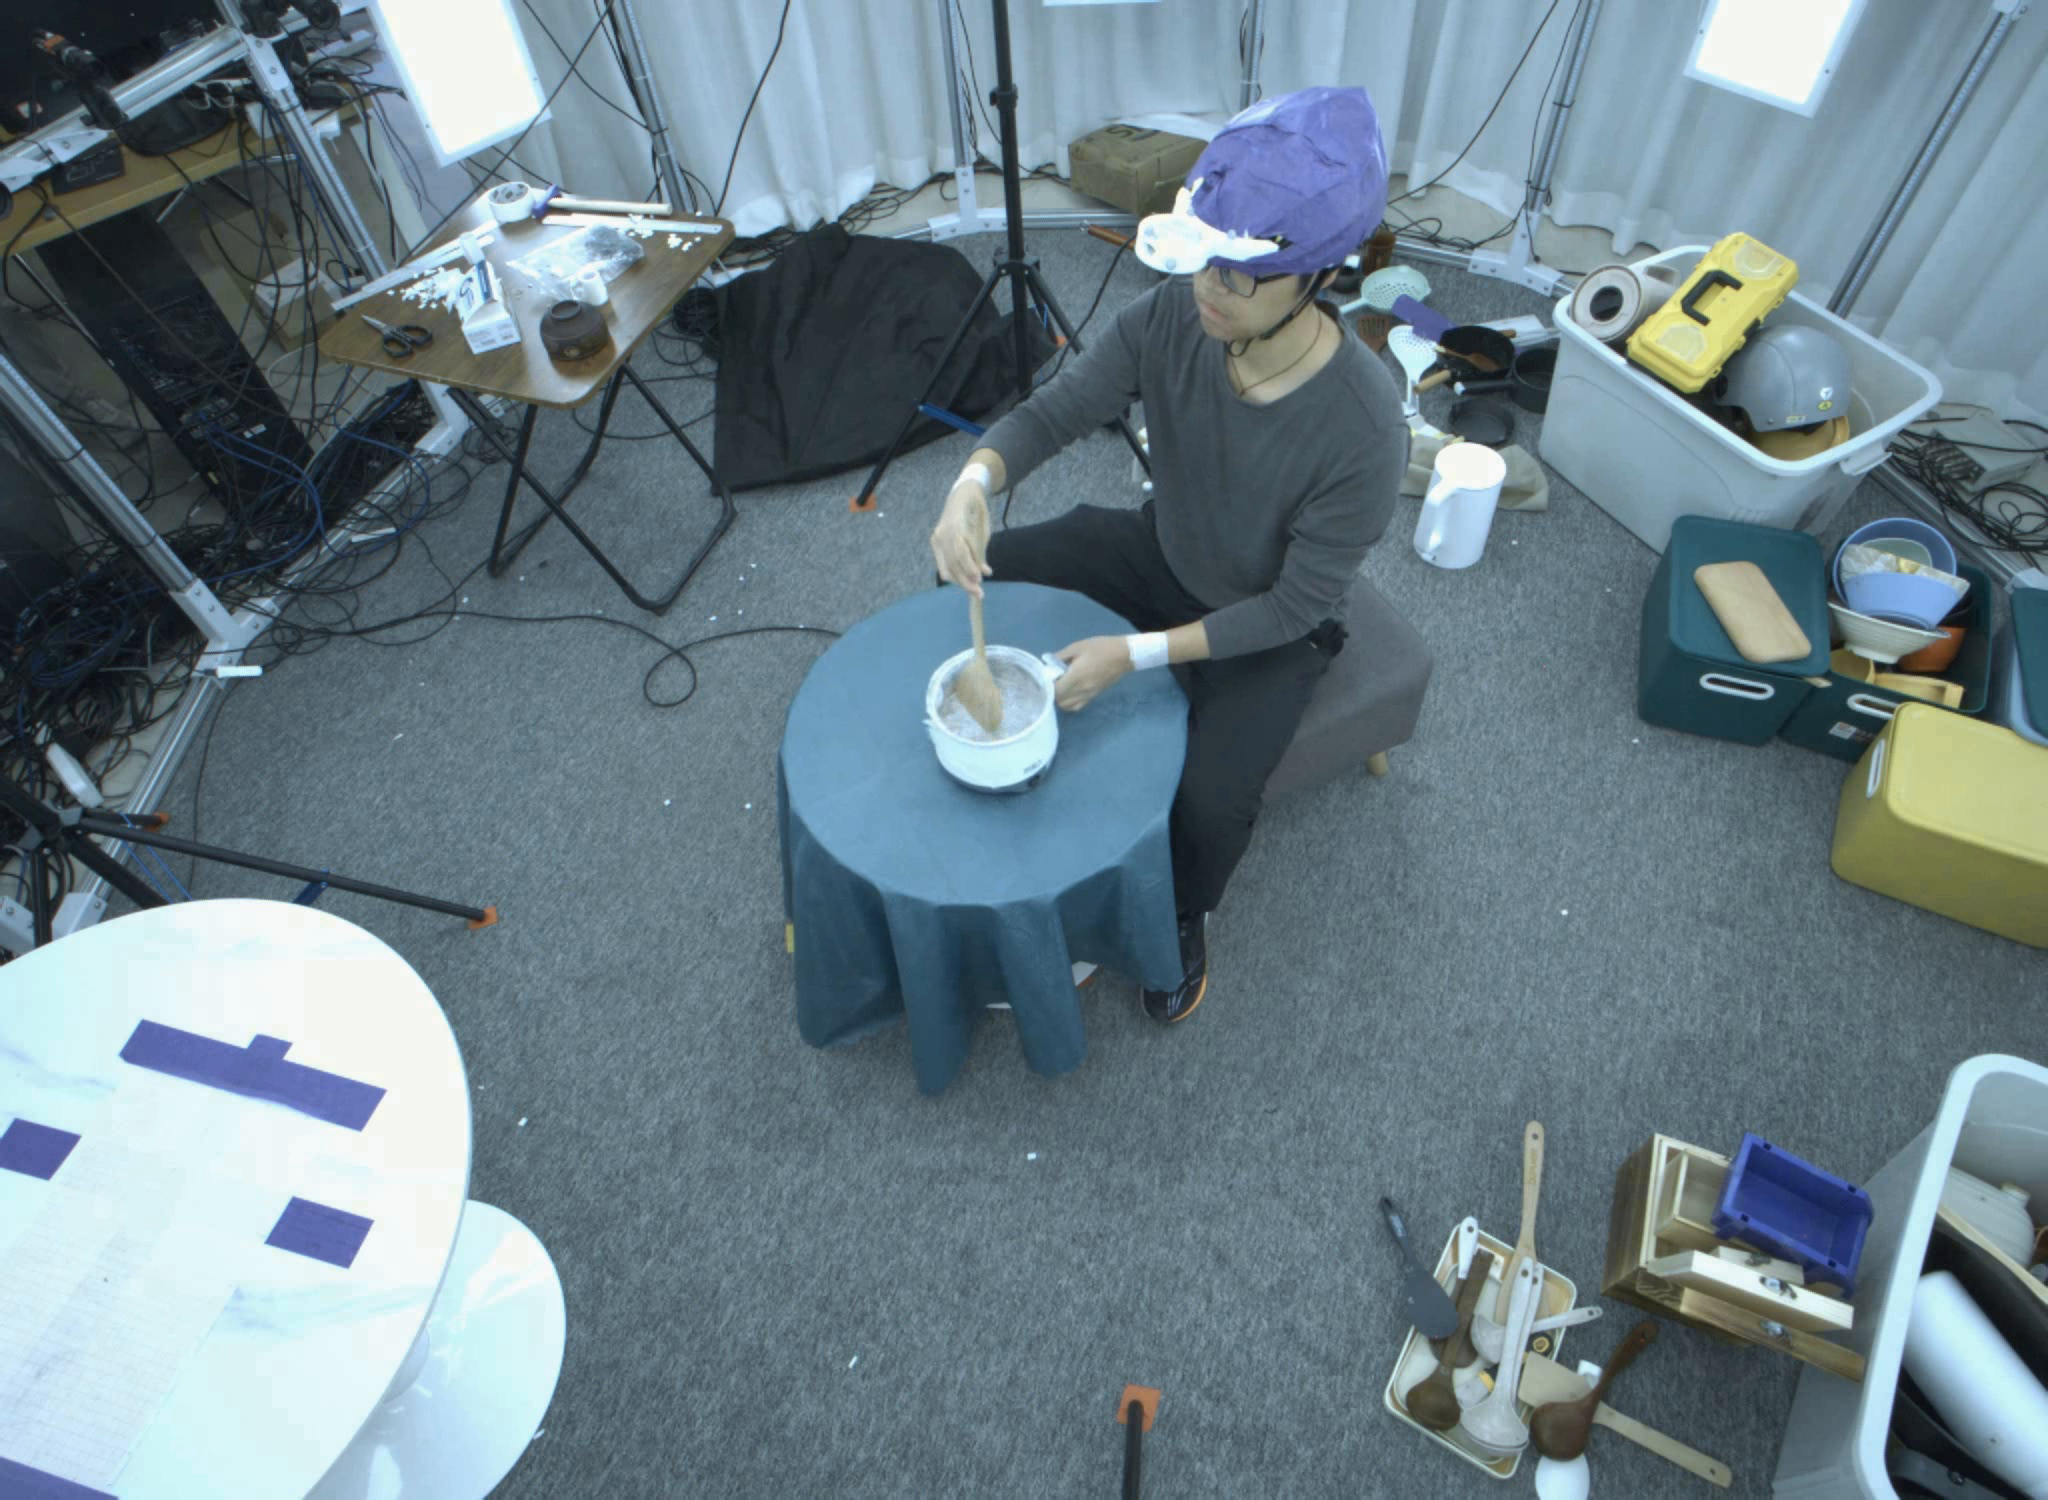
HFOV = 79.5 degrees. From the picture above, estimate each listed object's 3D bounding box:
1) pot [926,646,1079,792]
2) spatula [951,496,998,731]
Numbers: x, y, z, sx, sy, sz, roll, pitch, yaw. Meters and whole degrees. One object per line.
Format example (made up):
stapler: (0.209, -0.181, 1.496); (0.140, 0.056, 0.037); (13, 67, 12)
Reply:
pot: (-0.021, -0.054, 1.752); (0.235, 0.138, 0.175); (-34, 60, -21)
spatula: (-0.067, -0.175, 1.614); (0.018, 0.394, 0.094); (-34, 58, -26)
